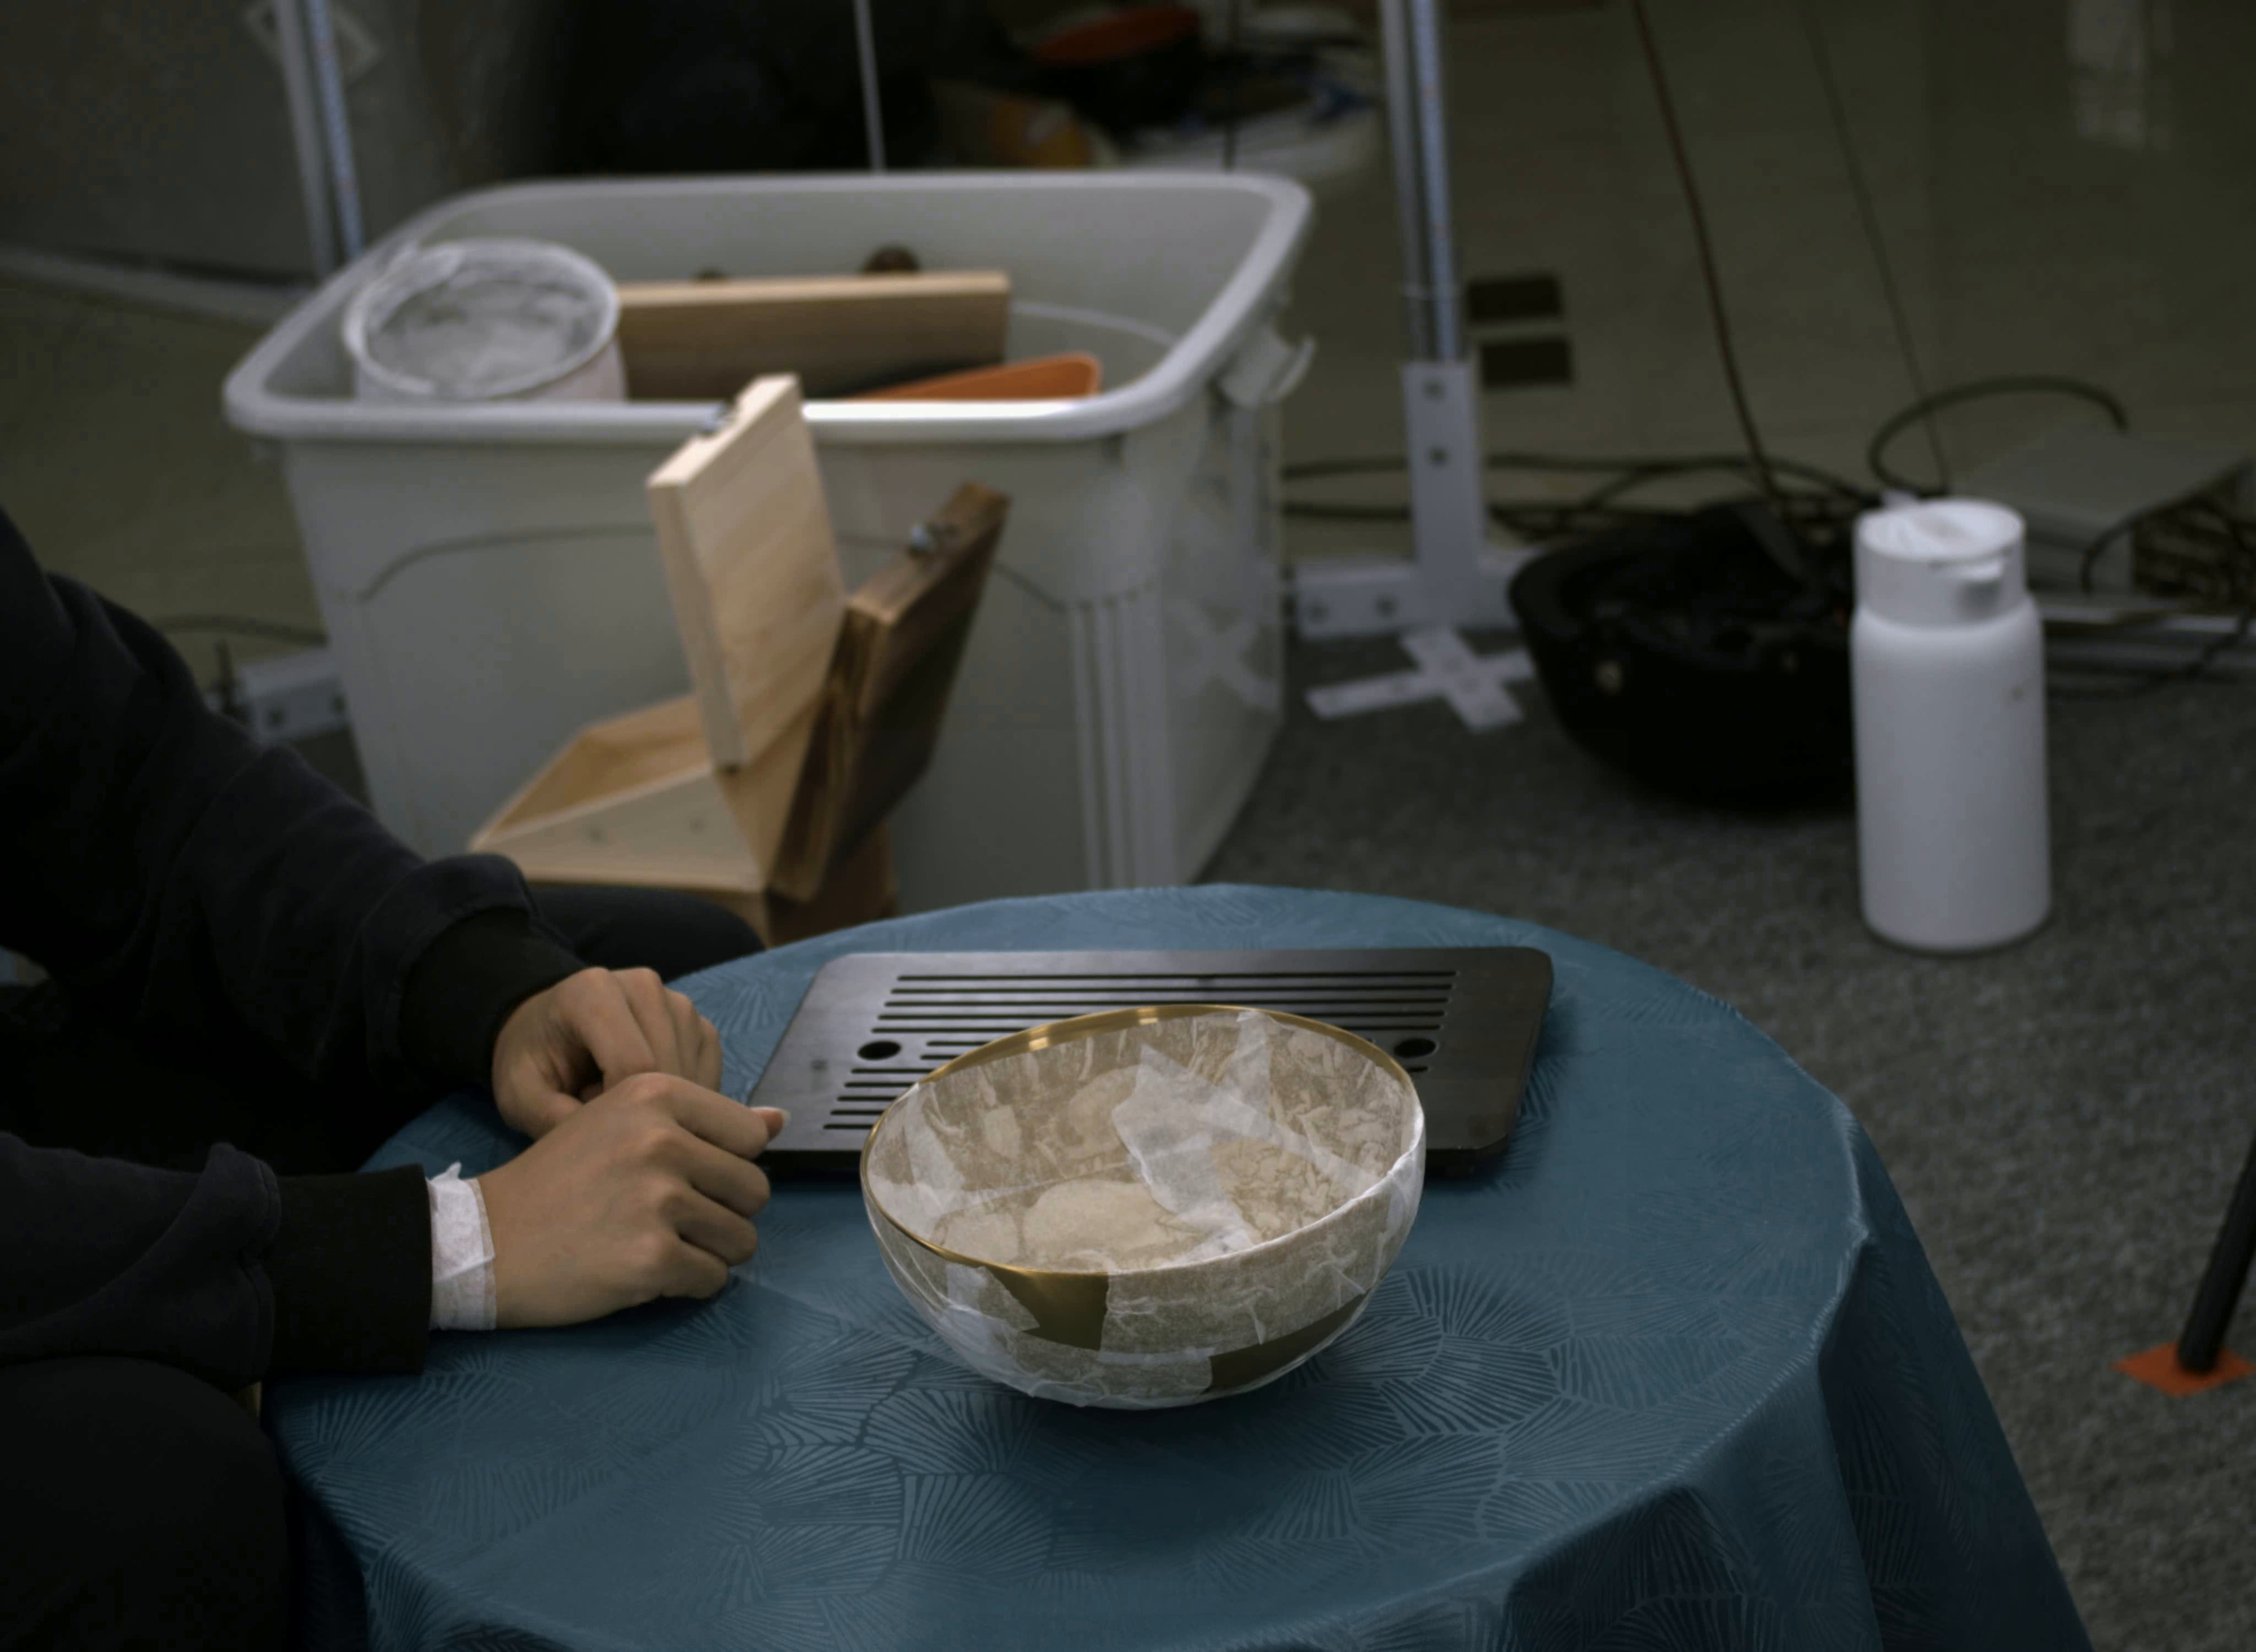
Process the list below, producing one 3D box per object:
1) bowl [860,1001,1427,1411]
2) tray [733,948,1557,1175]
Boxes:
[{"bbox_3d":[0.008,0.146,2.024,0.214,0.096,0.211,-6,26,3],"label":"bowl"},{"bbox_3d":[0.009,0.093,2.228,0.305,0.019,0.167,-1,25,12],"label":"tray"}]
